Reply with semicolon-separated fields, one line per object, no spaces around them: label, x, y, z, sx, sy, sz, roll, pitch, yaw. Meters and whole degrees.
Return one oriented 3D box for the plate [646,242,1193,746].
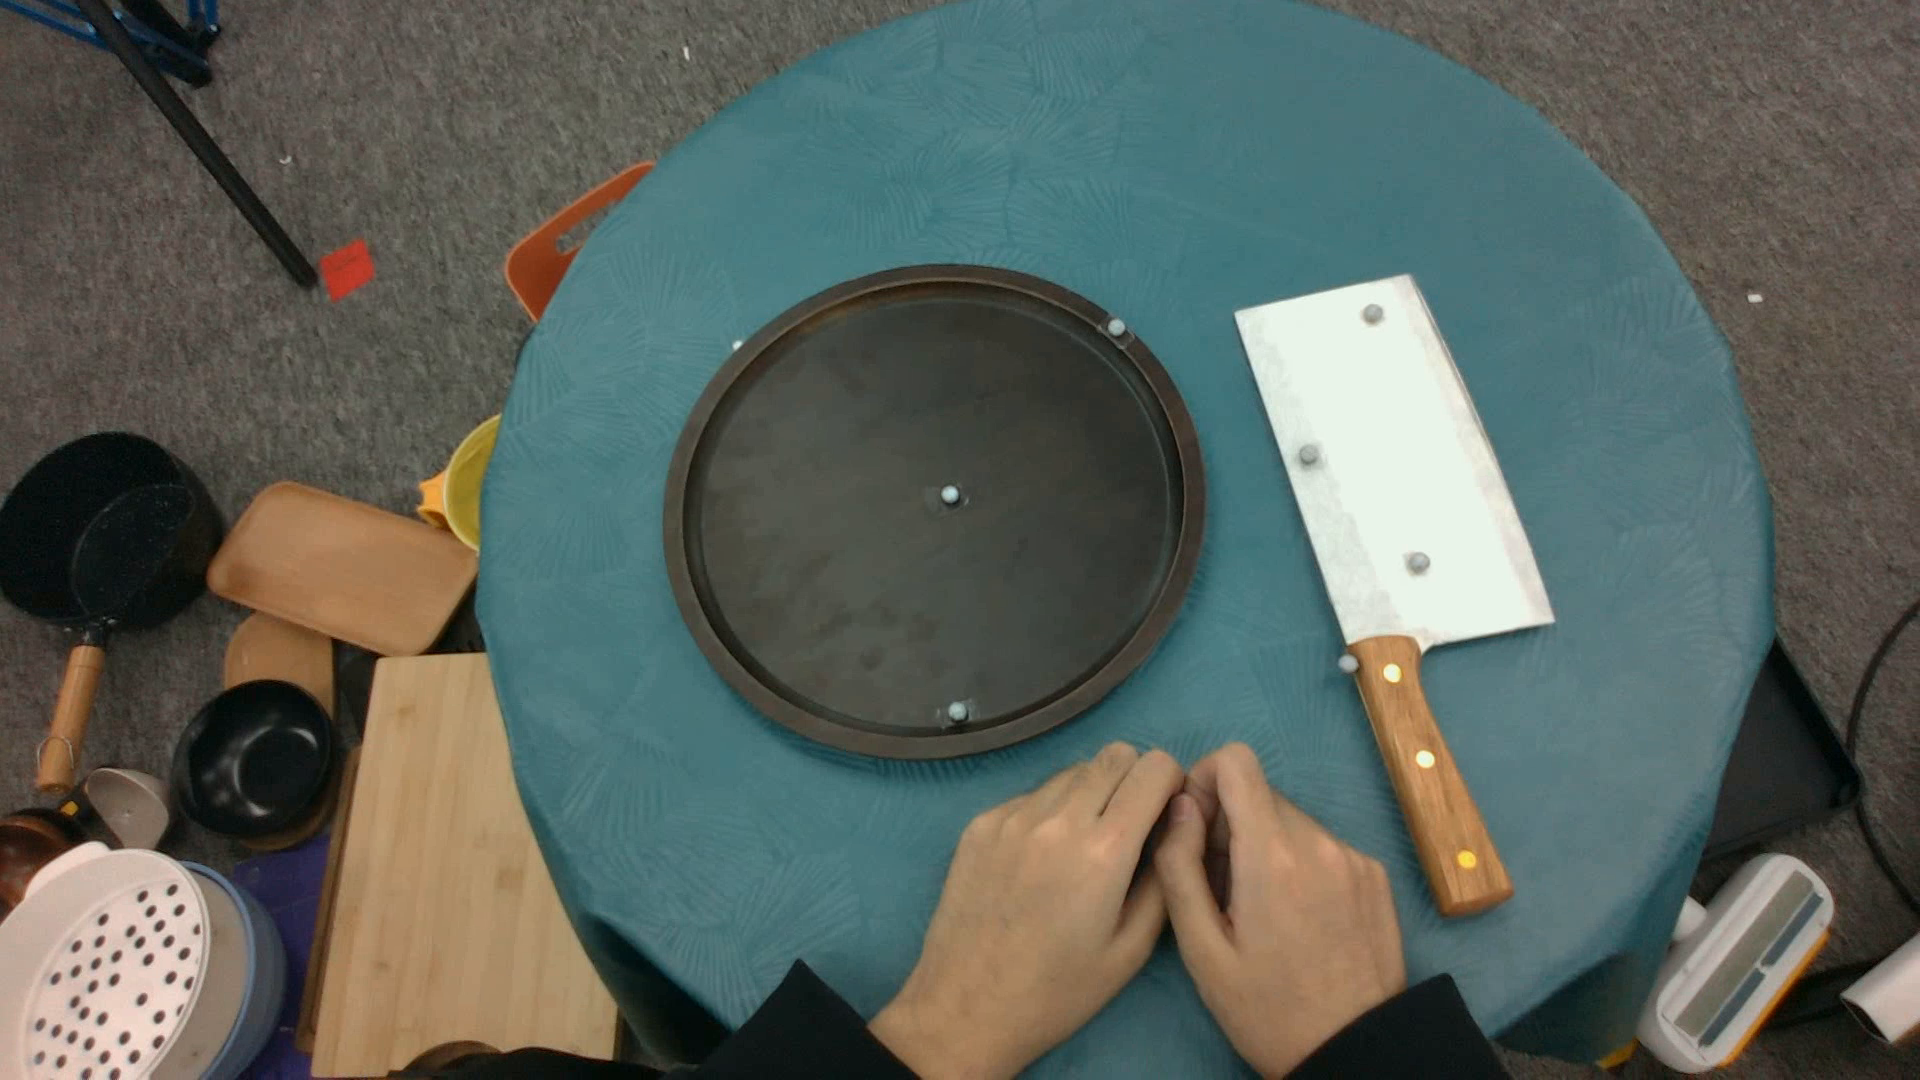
plate;-0.020;-0.027;0.640;0.255;0.029;0.255;-1;66;3

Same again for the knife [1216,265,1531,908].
knife;0.198;0.004;0.615;0.093;0.021;0.306;-12;65;-2
